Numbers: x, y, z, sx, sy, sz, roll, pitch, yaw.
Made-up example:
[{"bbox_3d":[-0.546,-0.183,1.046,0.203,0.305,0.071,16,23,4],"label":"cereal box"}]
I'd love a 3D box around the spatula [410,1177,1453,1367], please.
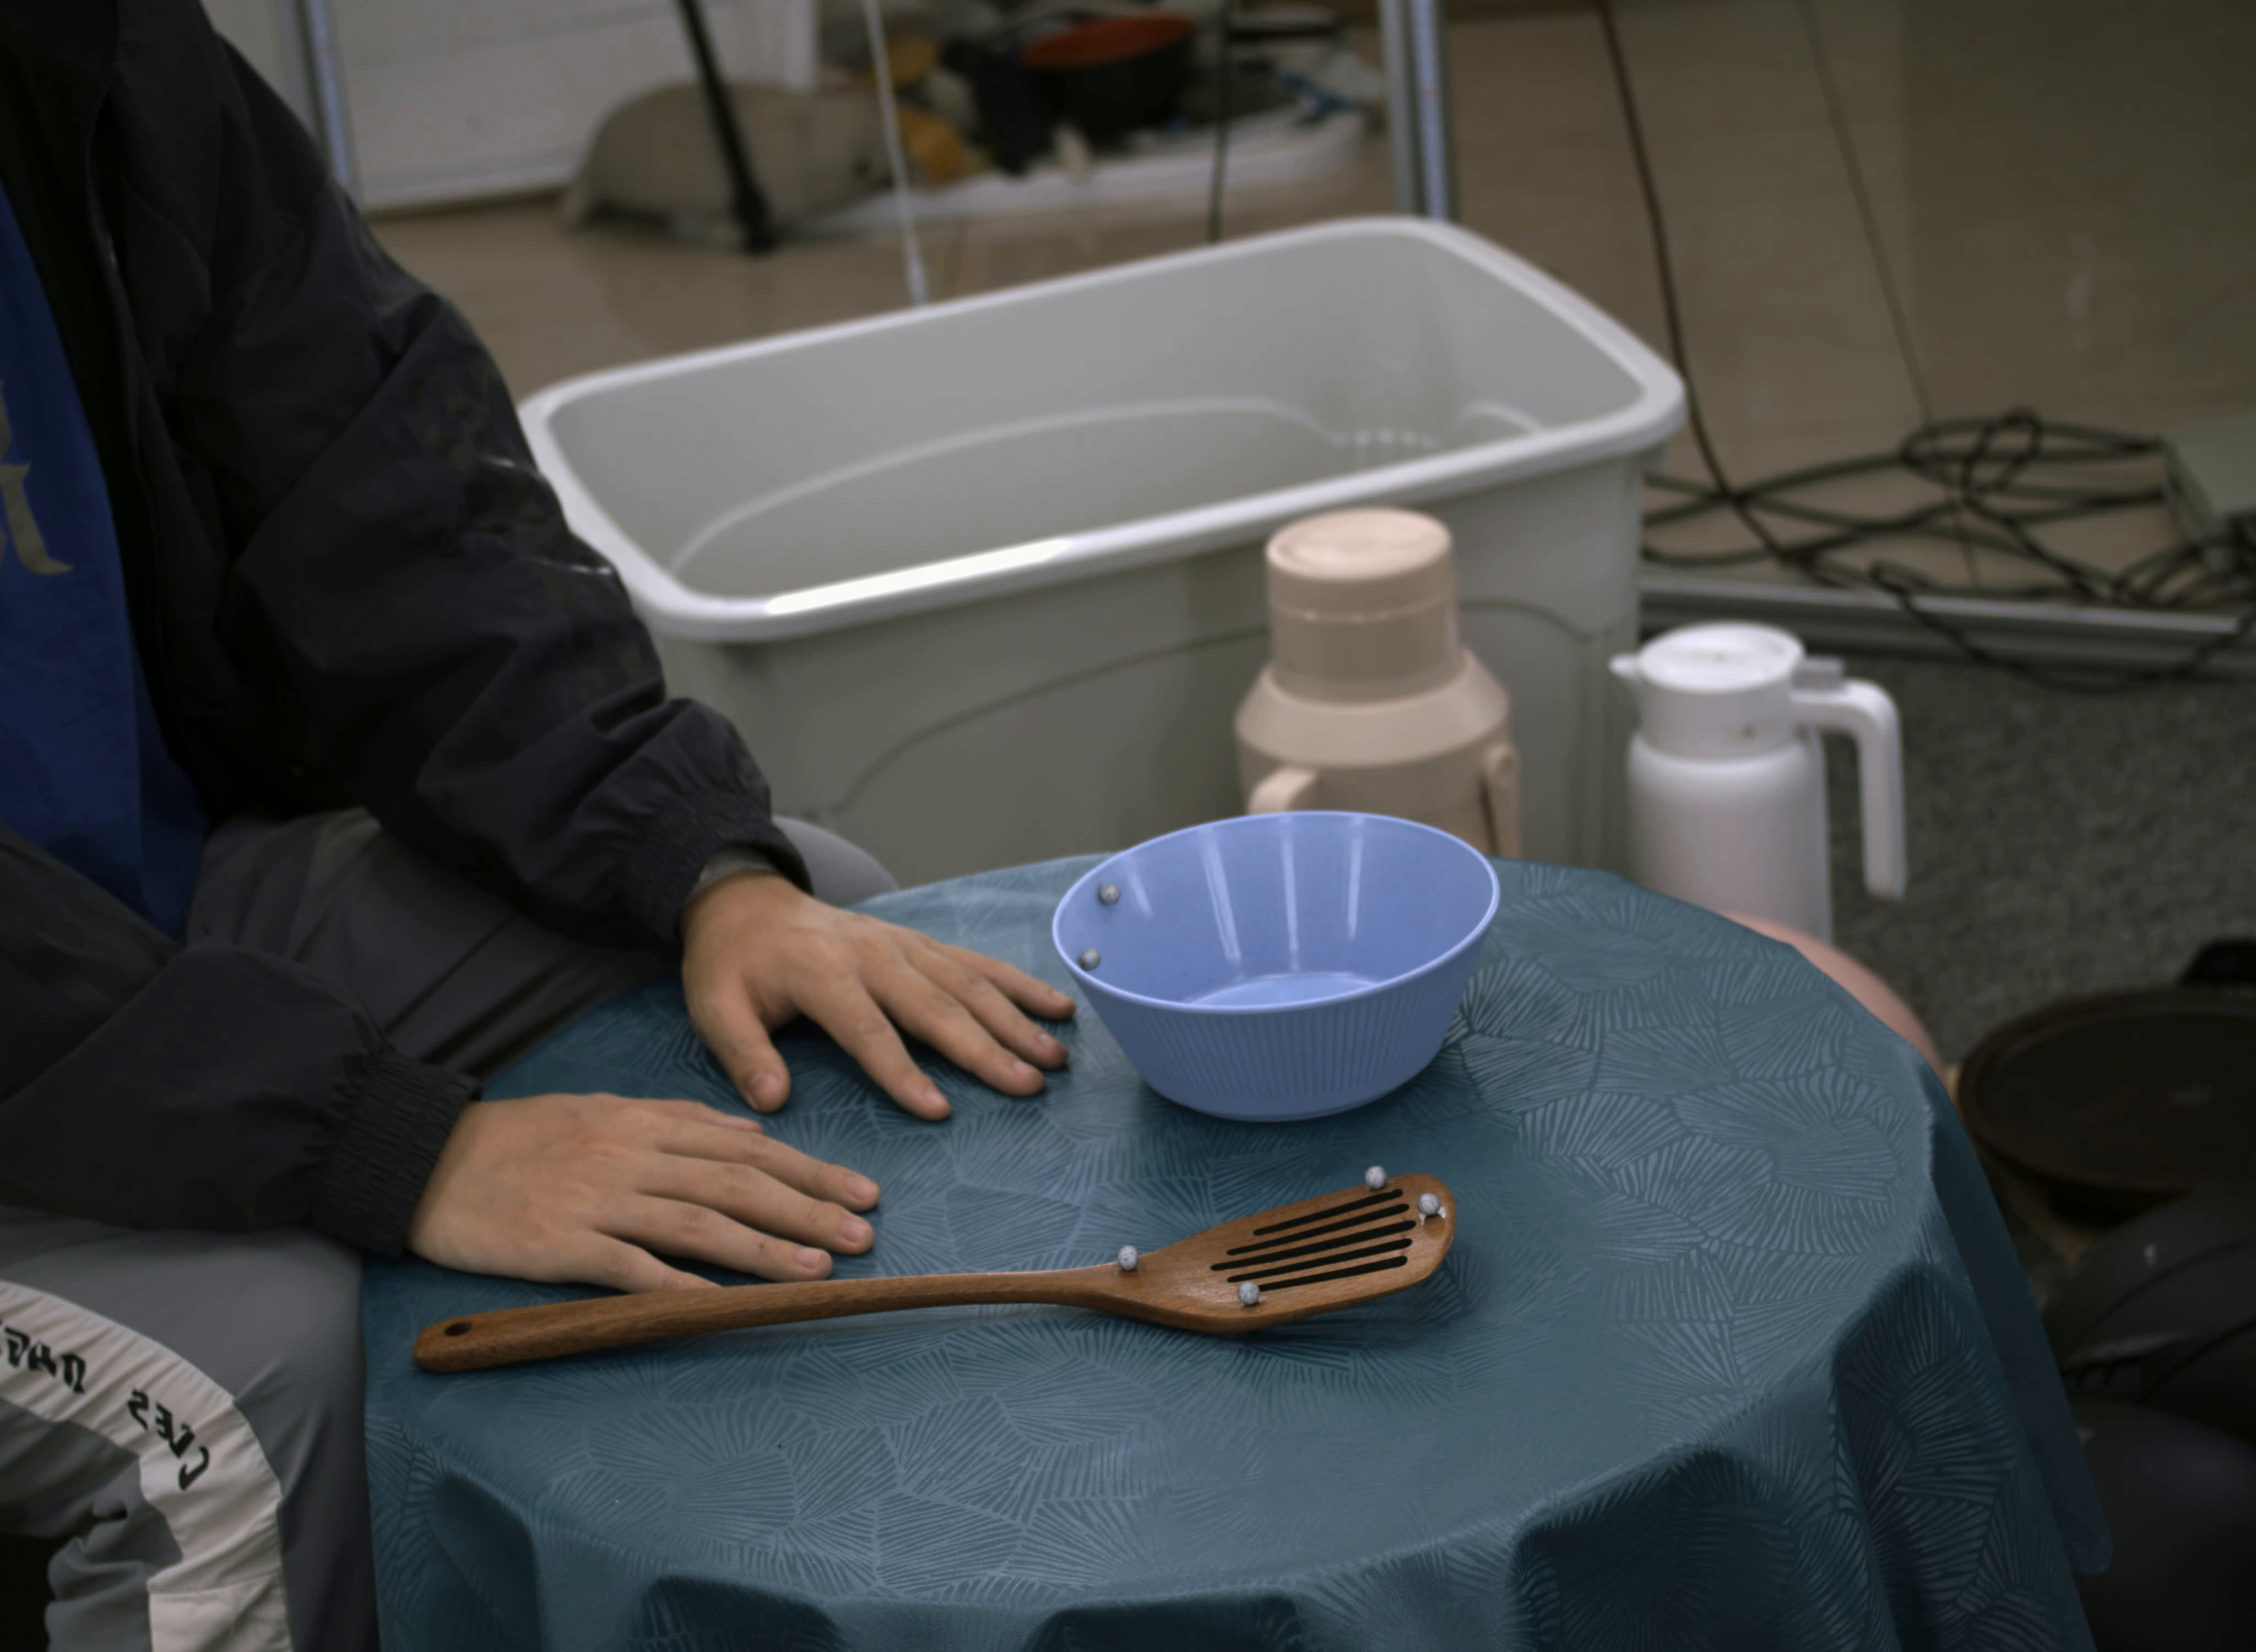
[{"bbox_3d":[-0.073,0.171,2.070,0.386,0.024,0.084,-6,24,5],"label":"spatula"}]

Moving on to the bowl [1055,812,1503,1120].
[{"bbox_3d":[0.062,0.060,2.216,0.176,0.071,0.173,-7,24,3],"label":"bowl"}]
